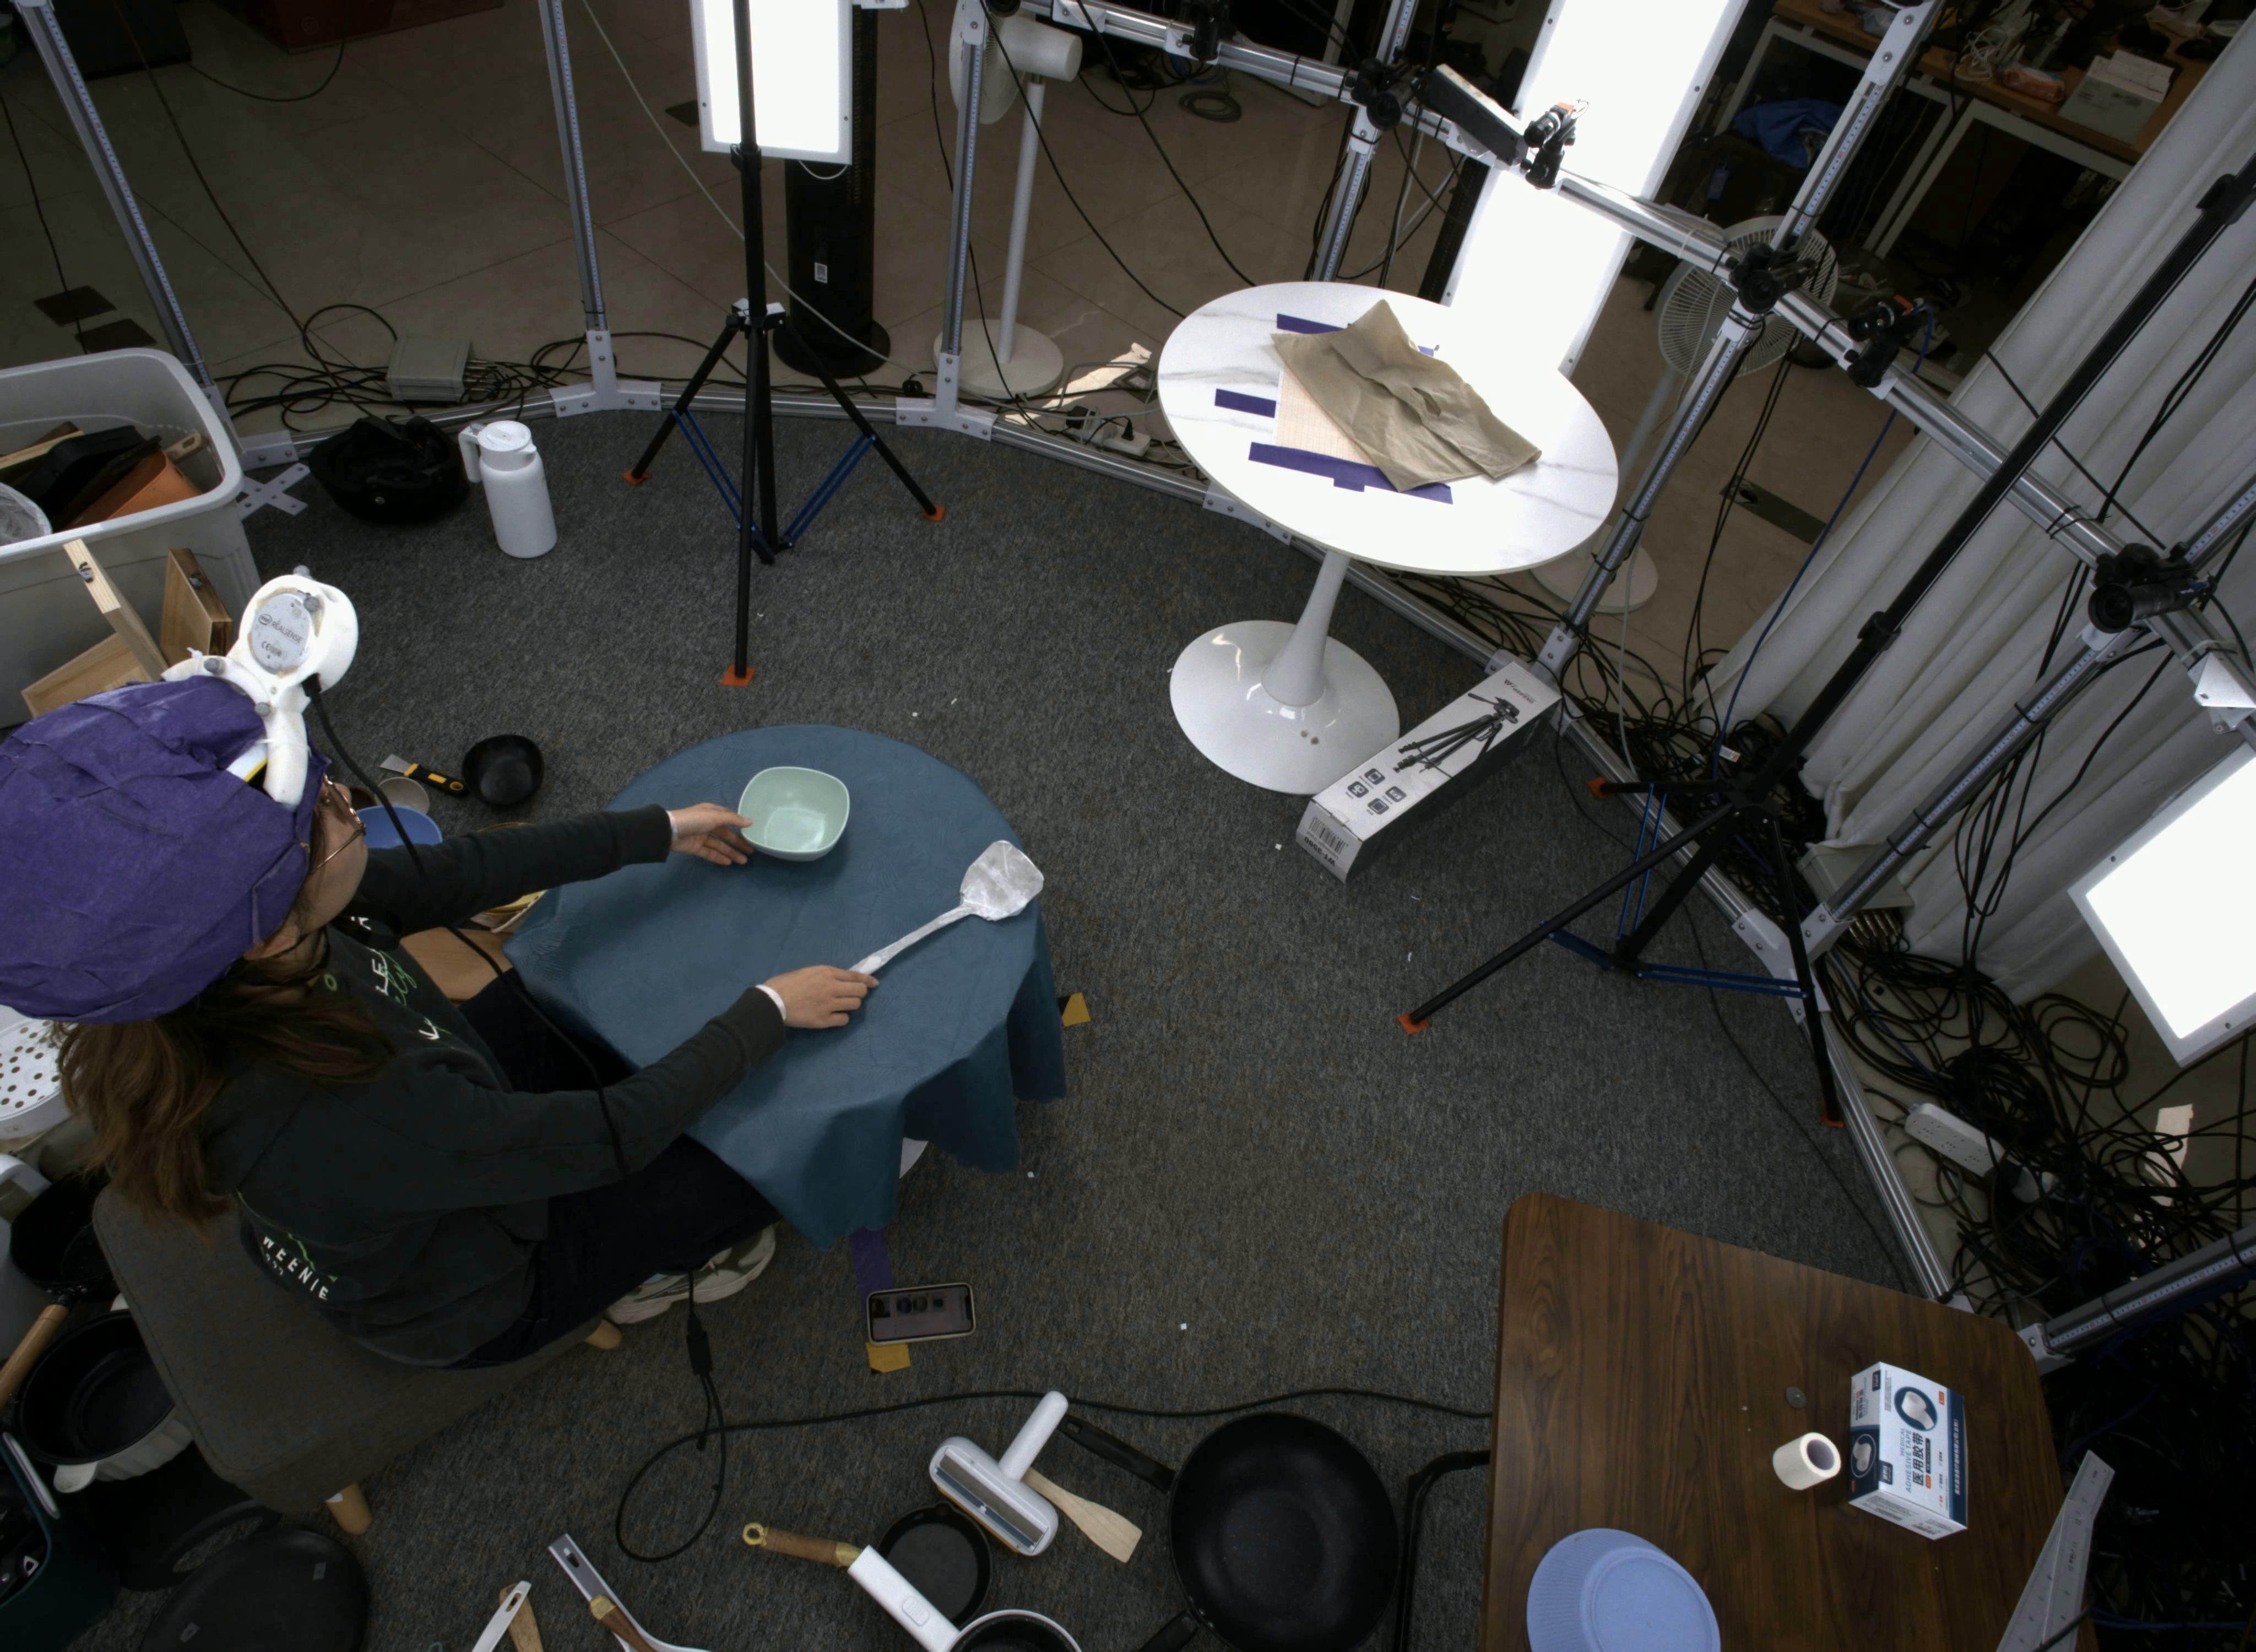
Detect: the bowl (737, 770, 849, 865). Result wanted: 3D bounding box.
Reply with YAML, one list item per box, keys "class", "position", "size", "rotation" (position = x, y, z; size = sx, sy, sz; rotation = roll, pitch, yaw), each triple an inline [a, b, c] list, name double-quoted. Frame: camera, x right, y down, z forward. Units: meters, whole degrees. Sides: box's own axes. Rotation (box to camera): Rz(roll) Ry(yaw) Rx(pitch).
- class: "bowl"
  position: [-0.436, -0.003, 1.695]
  size: [0.151, 0.060, 0.148]
  rotation: [8, 51, -8]

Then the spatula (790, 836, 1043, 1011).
- class: "spatula"
  position: [-0.268, 0.131, 1.647]
  size: [0.366, 0.045, 0.096]
  rotation: [-32, 68, -32]
